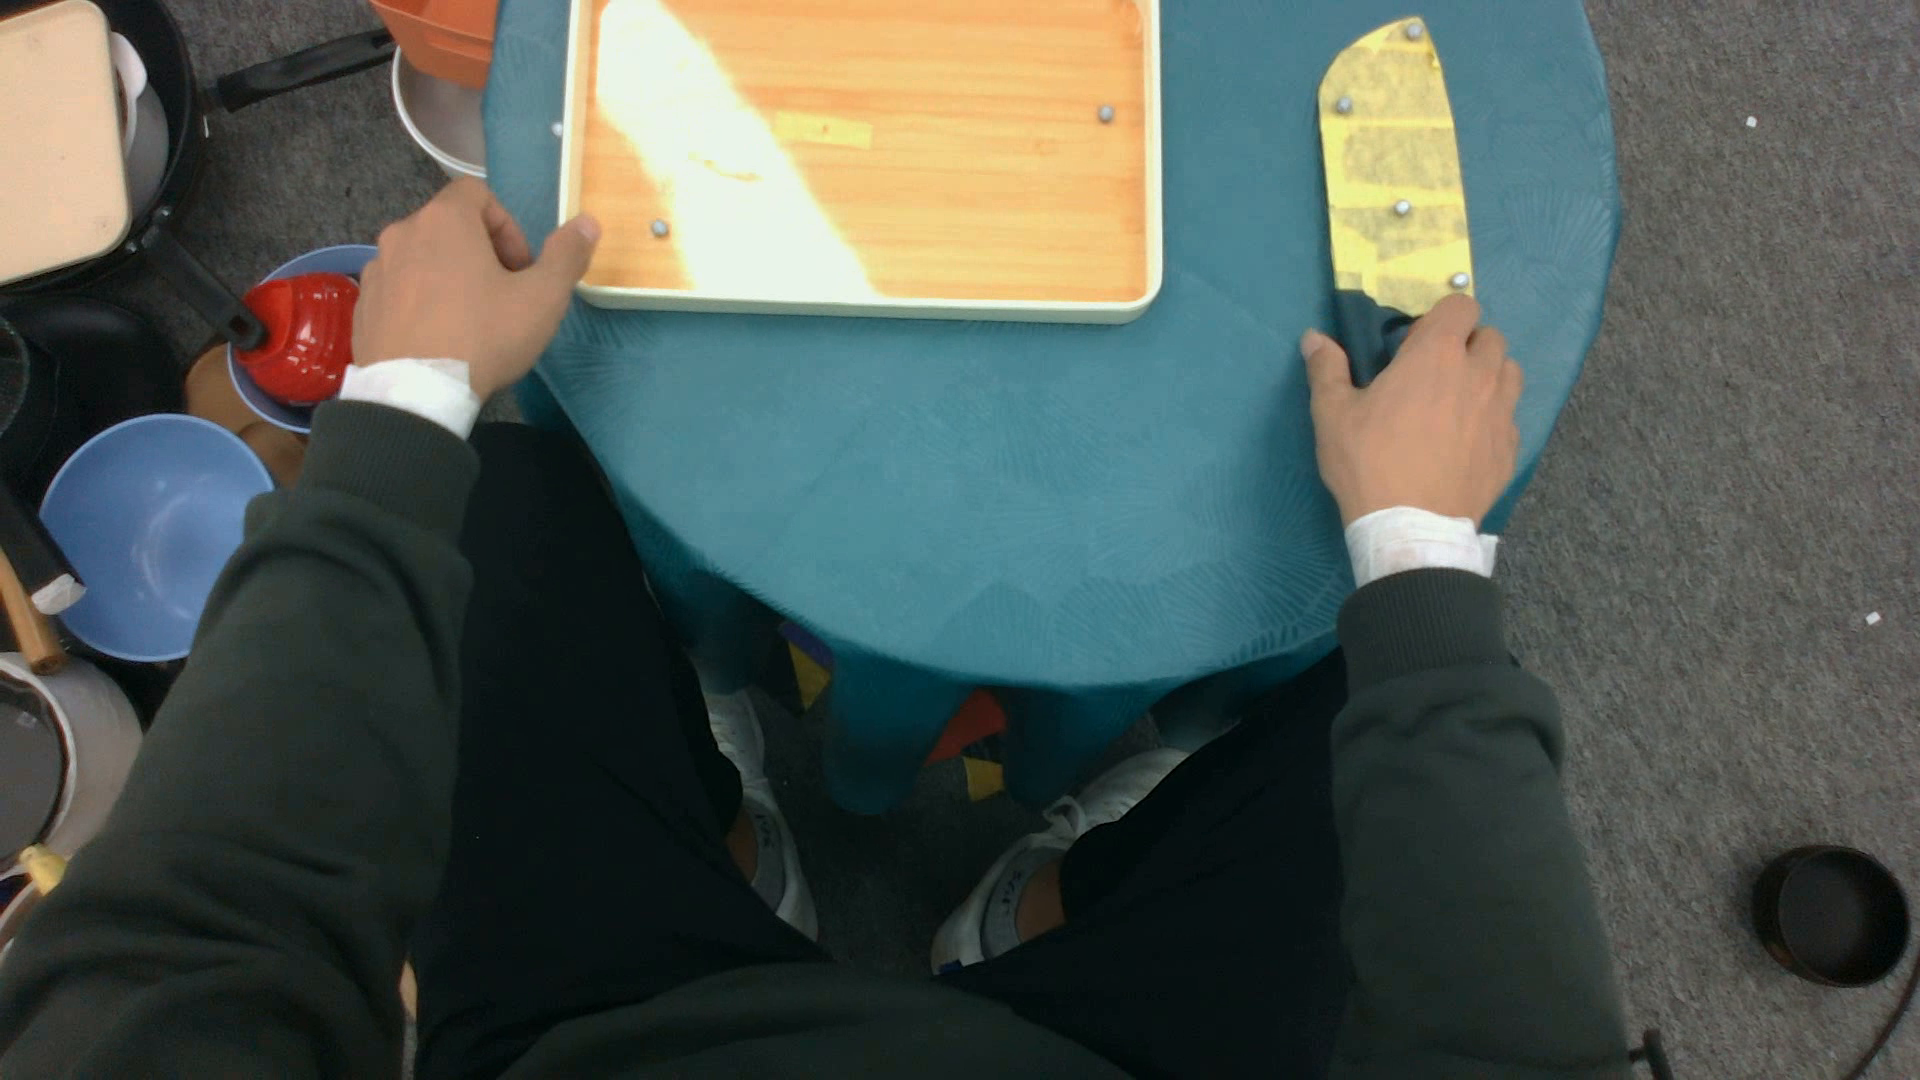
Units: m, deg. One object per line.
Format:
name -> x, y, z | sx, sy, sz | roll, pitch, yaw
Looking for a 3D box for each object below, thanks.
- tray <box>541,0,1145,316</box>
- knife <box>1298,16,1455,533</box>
tray -> -0.056, -0.213, 0.707 | 0.300, 0.027, 0.192 | 1, 80, -4
knife -> 0.218, -0.145, 0.720 | 0.081, 0.027, 0.290 | 2, 78, -3
